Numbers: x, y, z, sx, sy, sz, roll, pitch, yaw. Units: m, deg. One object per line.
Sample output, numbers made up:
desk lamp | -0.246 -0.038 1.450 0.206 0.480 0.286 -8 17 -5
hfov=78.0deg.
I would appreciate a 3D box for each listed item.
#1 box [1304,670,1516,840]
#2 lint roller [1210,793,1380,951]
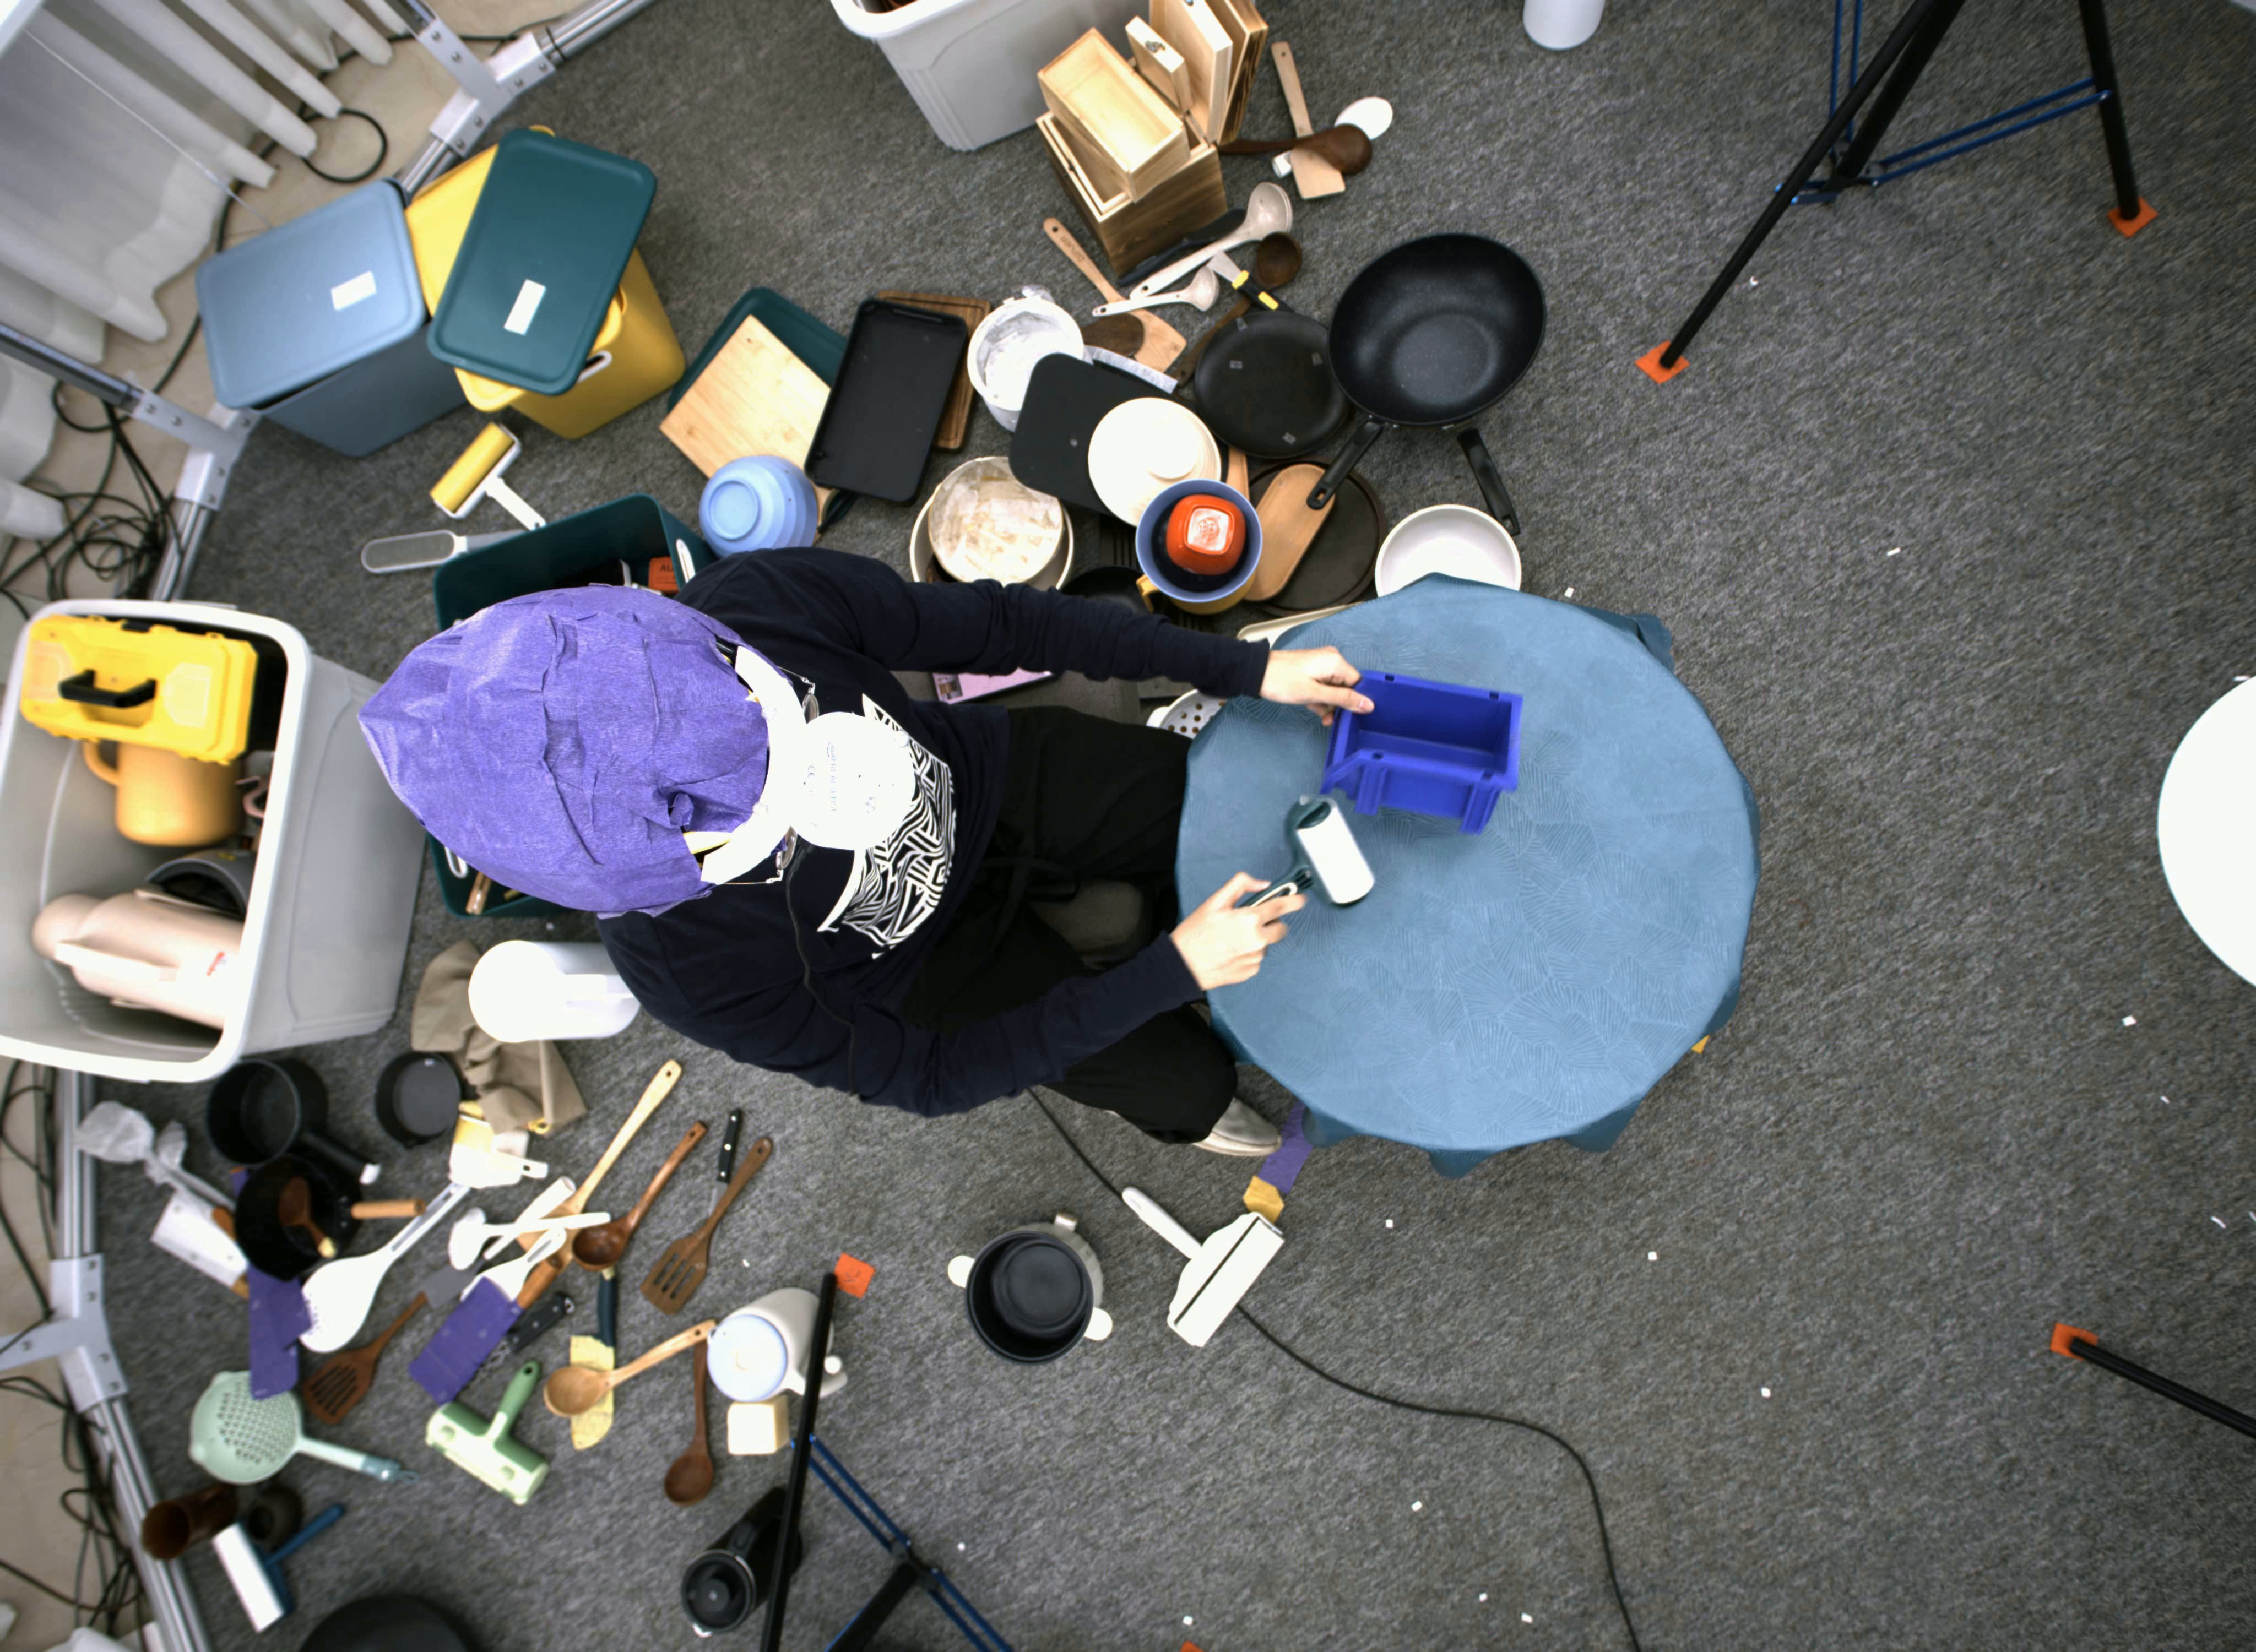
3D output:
box | 0.275 -0.073 1.352 0.179 0.084 0.121 15 57 8
lint roller | 0.158 0.065 1.351 0.179 0.048 0.136 -41 123 -10
